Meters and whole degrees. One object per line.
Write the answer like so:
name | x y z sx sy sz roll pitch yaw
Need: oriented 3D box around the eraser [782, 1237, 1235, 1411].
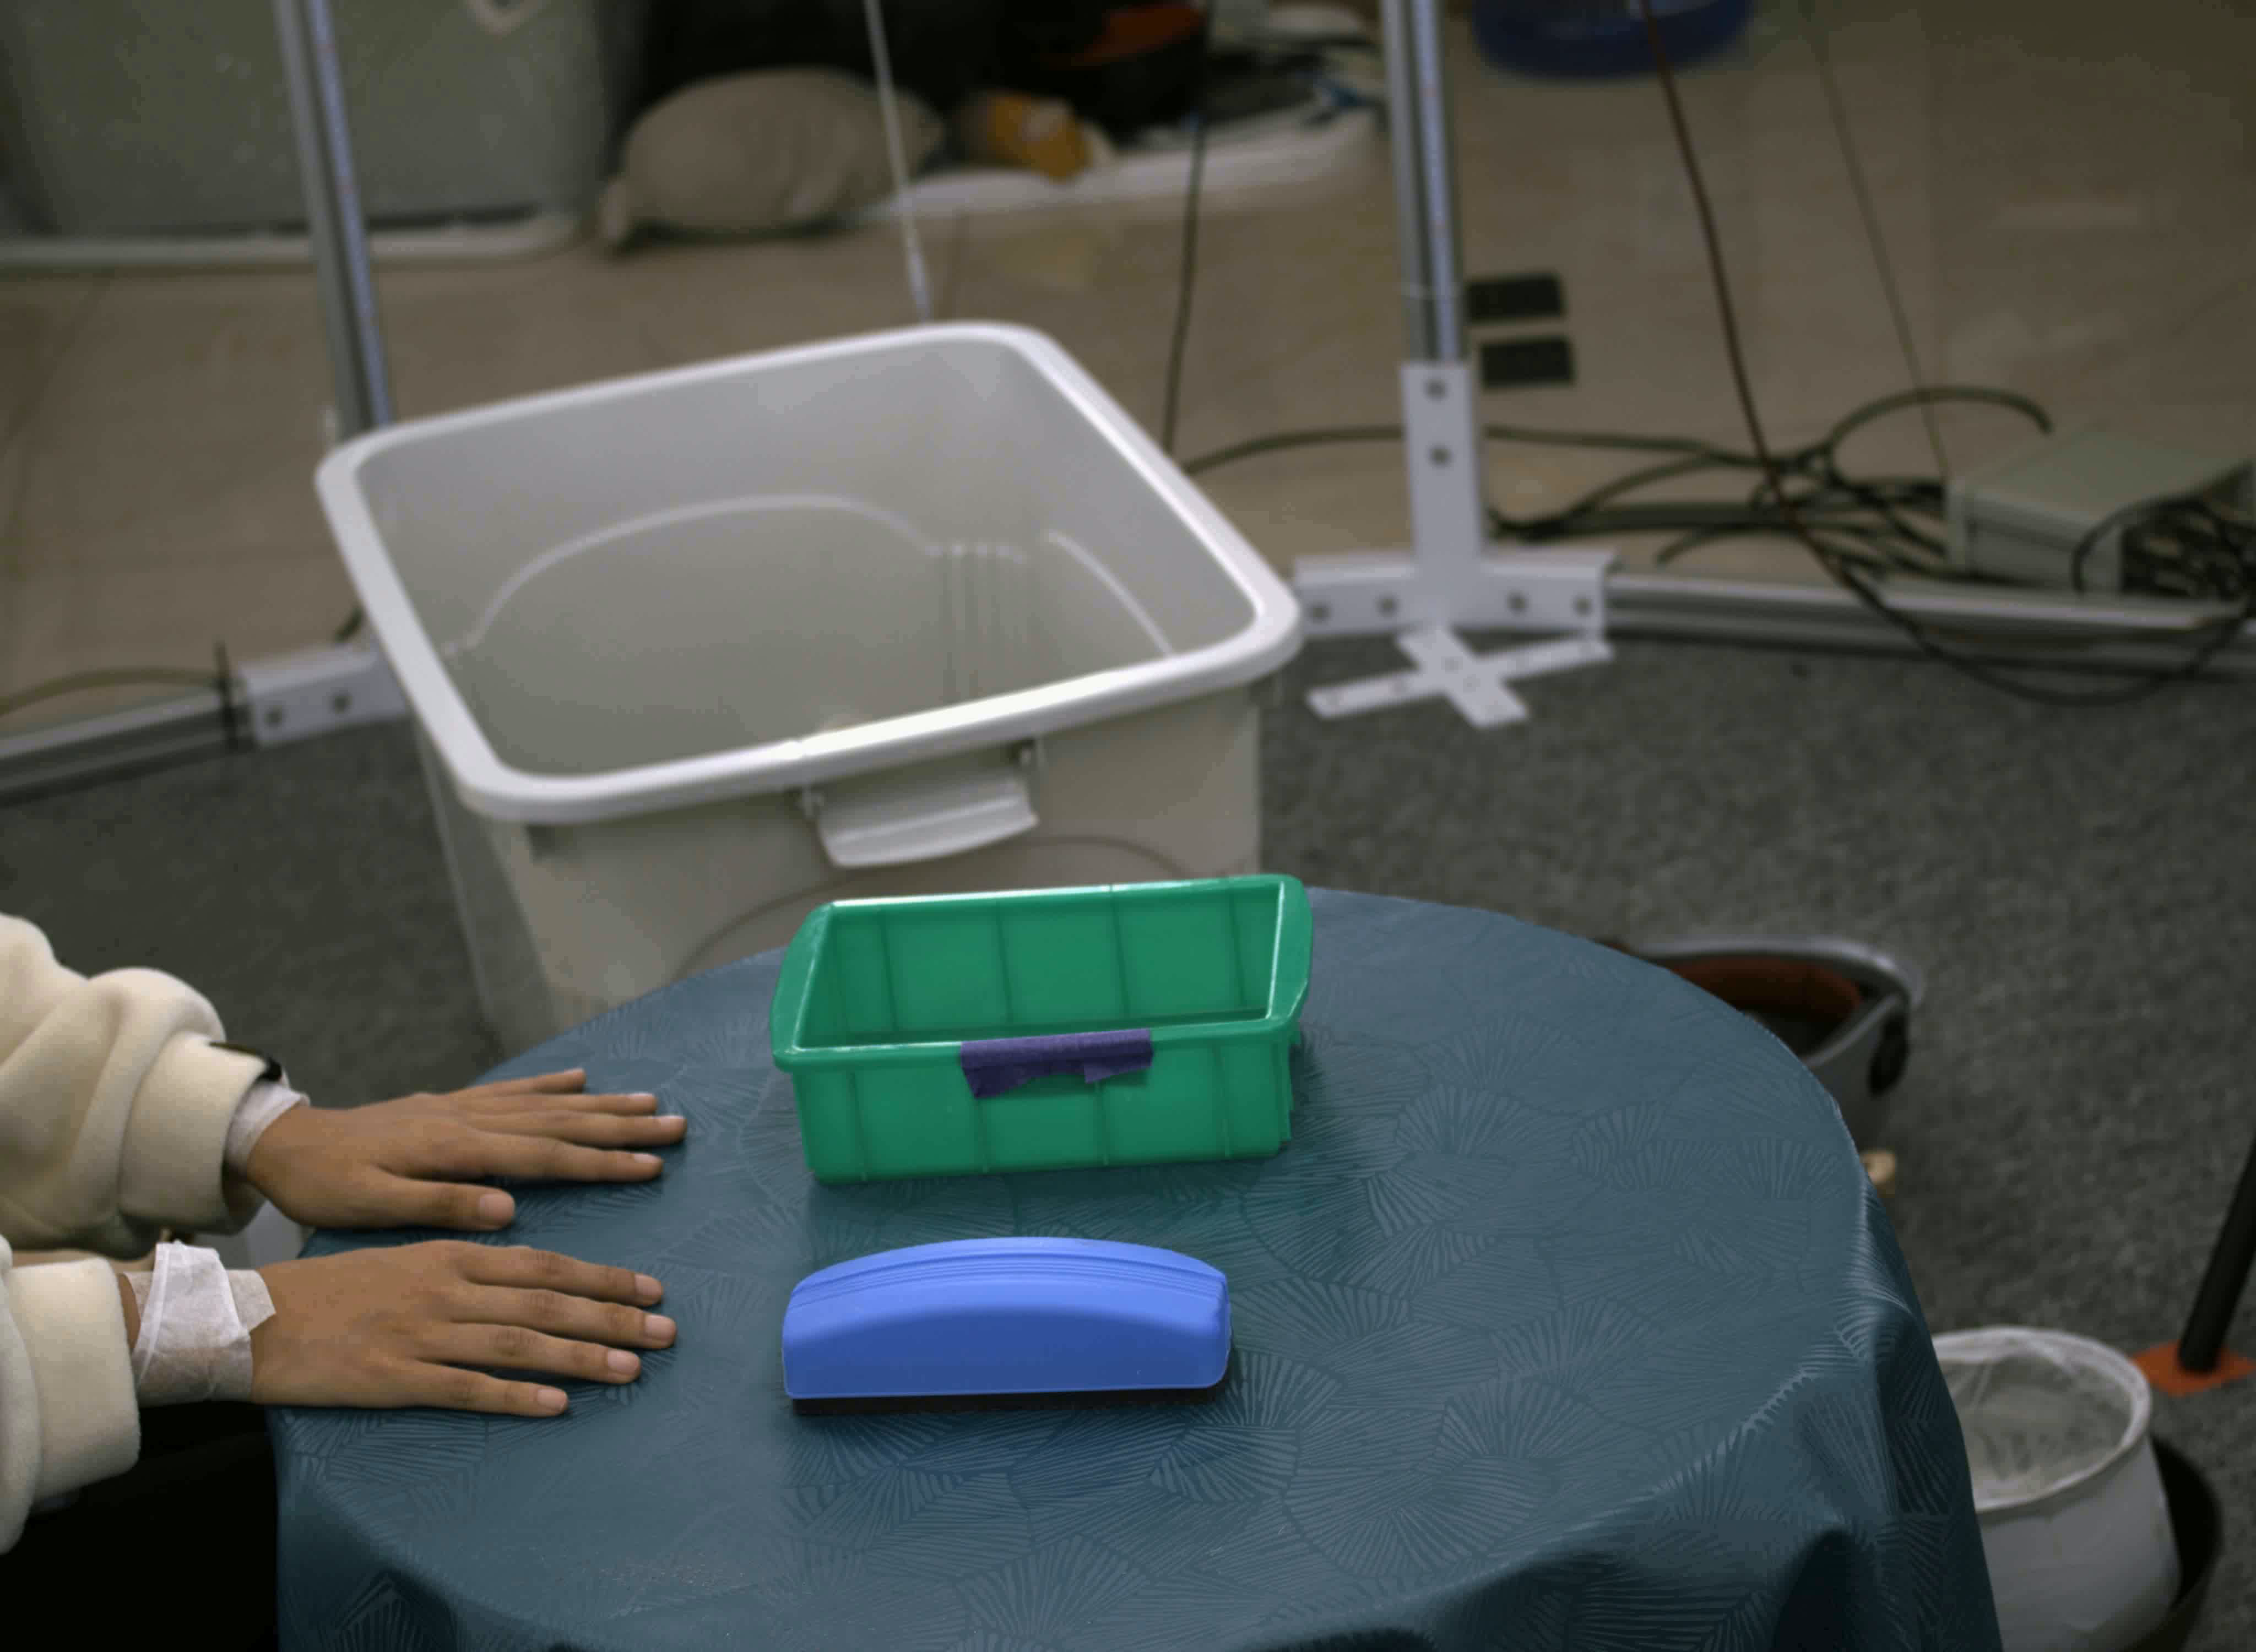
eraser | -0.044 0.176 2.023 0.162 0.048 0.053 -2 25 8

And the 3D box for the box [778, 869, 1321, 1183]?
box | -0.027 0.079 2.209 0.210 0.066 0.136 -4 27 4
